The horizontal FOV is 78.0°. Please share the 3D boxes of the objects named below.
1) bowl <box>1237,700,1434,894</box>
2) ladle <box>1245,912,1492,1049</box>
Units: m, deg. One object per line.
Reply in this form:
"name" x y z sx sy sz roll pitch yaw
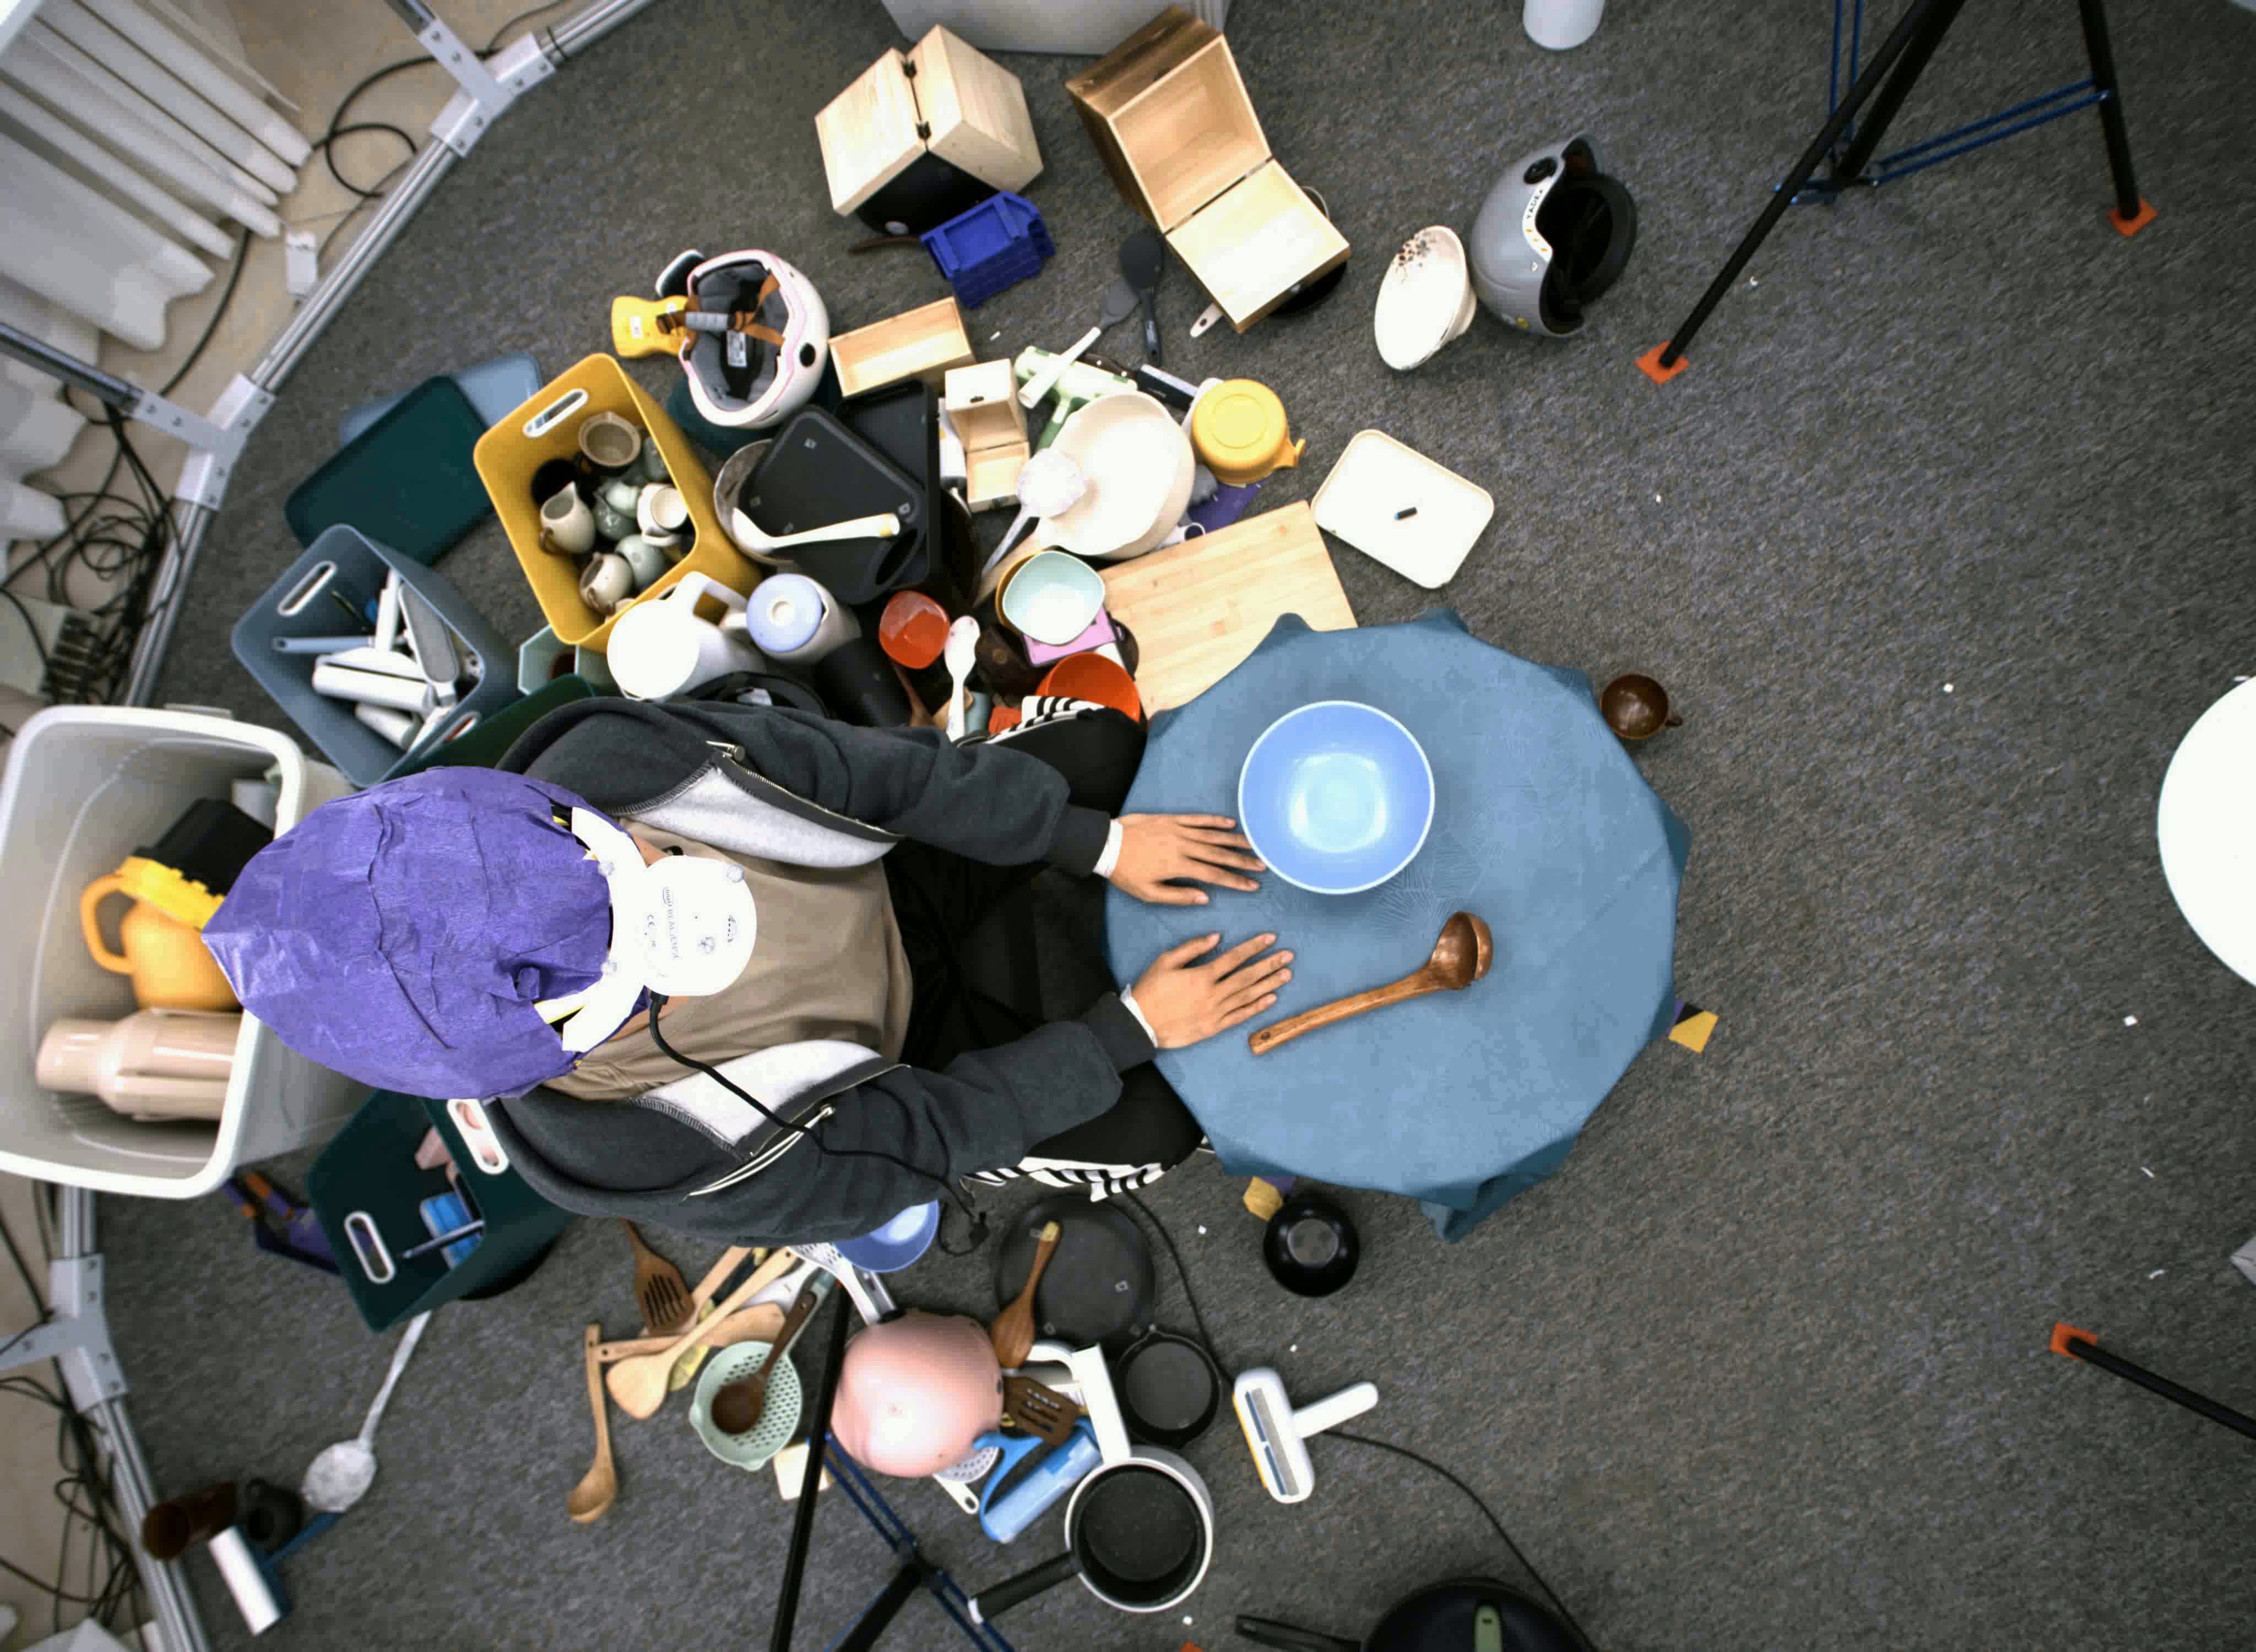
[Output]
"bowl" 0.216 -0.026 1.427 0.197 0.095 0.196 -1 87 11
"ladle" 0.242 0.163 1.423 0.276 0.078 0.080 -19 43 10
